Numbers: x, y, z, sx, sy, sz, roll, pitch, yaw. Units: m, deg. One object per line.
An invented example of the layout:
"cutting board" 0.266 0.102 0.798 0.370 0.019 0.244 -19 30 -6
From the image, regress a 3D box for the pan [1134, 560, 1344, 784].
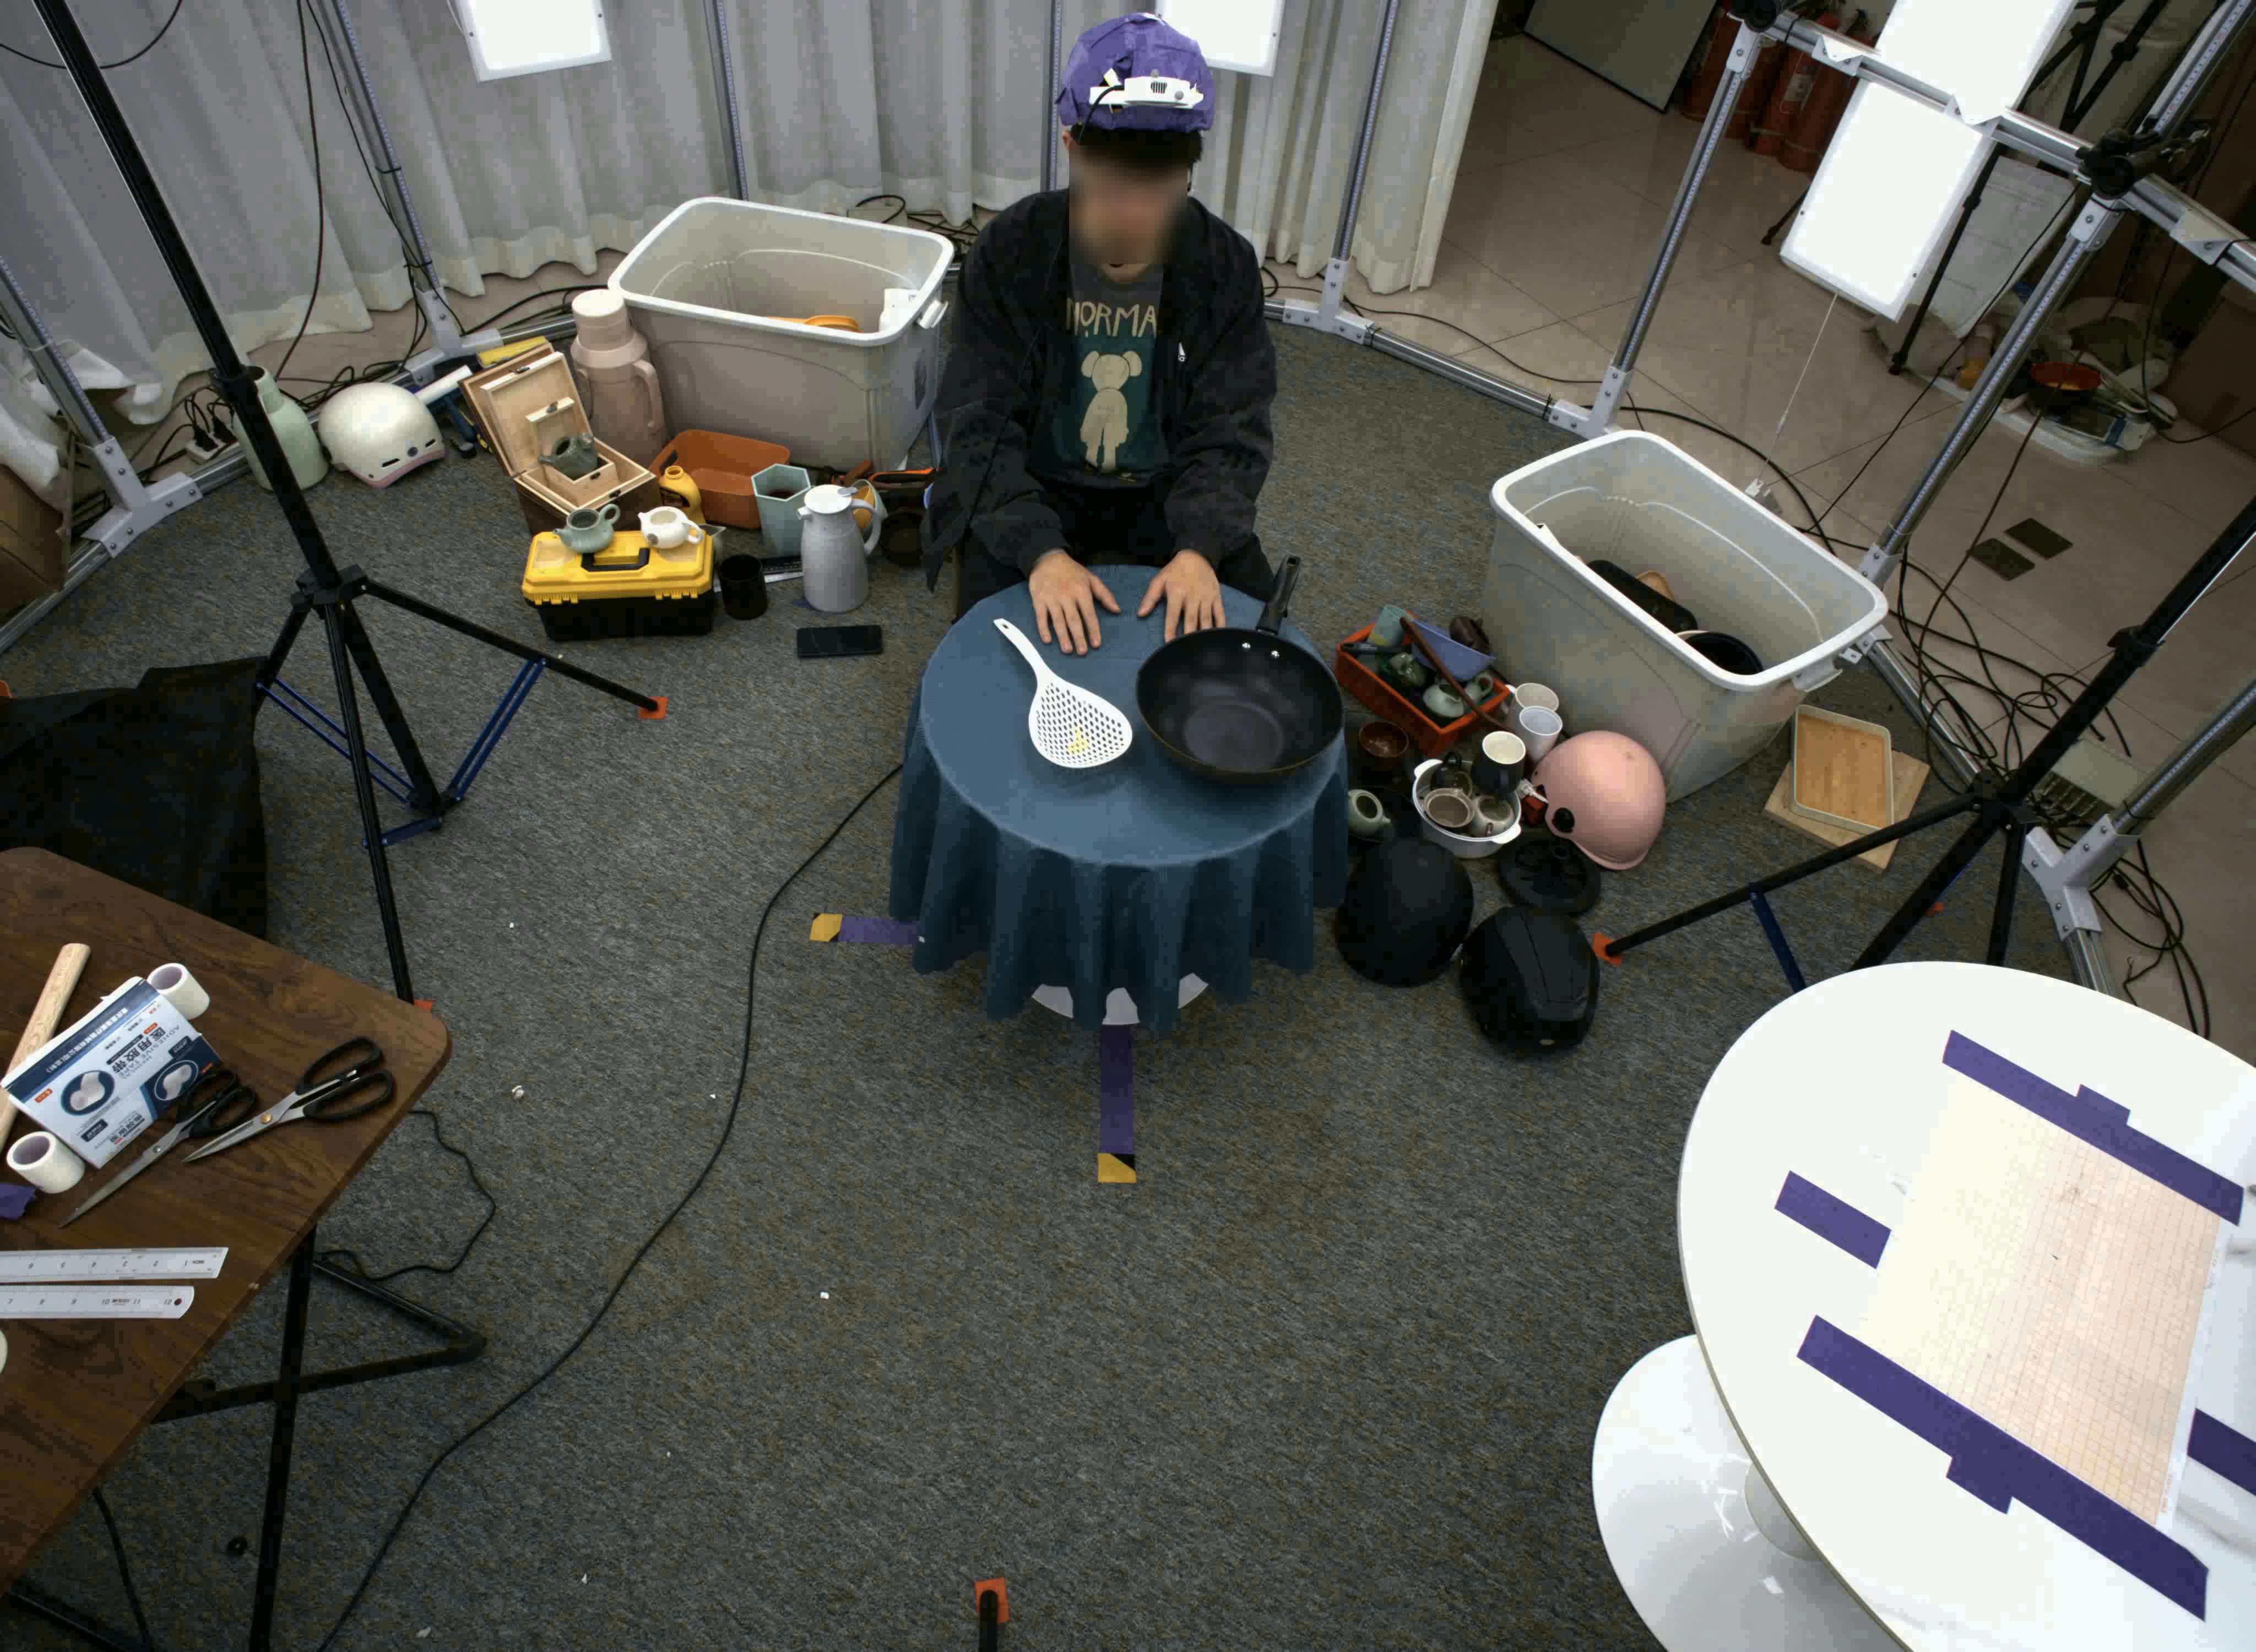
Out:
"pan" 0.175 -0.215 1.812 0.289 0.085 0.473 16 48 10

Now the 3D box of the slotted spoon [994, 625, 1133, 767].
"slotted spoon" -0.111 -0.194 1.802 0.137 0.049 0.356 -19 52 -17
